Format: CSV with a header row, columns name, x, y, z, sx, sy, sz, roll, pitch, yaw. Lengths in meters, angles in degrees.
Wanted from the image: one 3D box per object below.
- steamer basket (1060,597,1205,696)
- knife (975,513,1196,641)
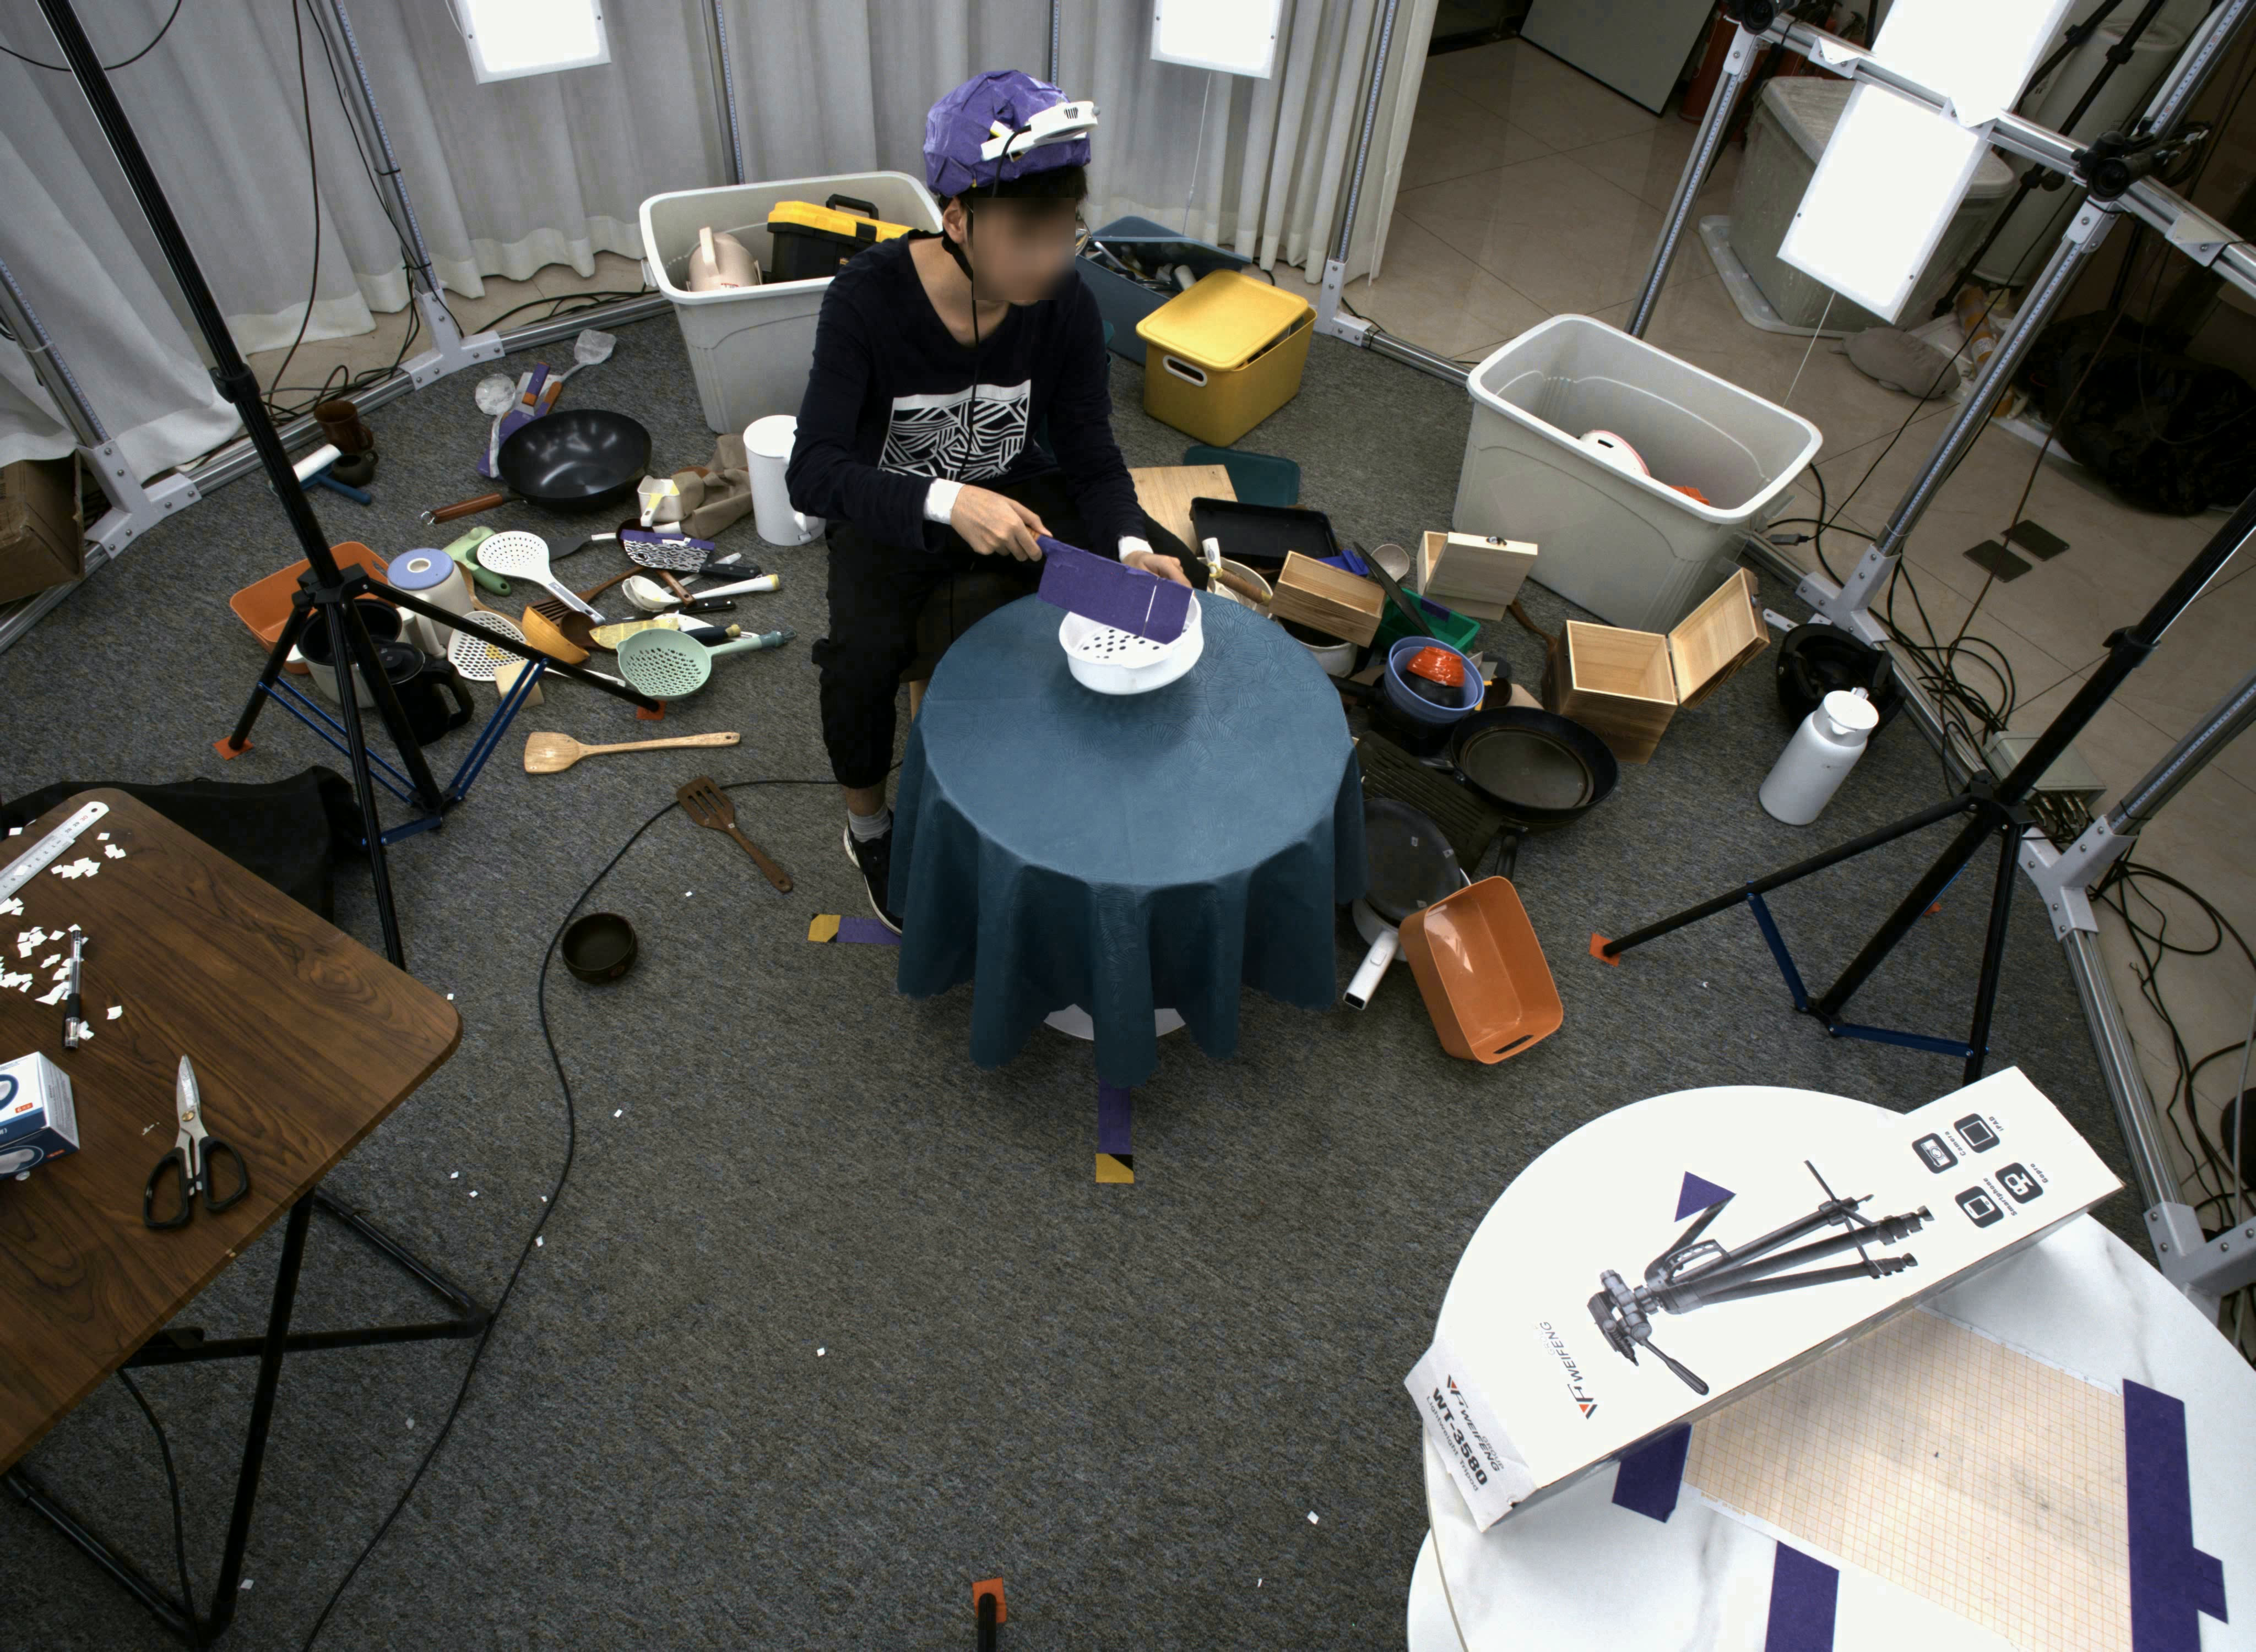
name,x,y,z,sx,sy,sz,roll,pitch,yaw
steamer basket,0.009,-0.259,1.808,0.202,0.067,0.236,-16,37,-4
knife,-0.067,-0.335,1.761,0.316,0.102,0.032,21,26,6
